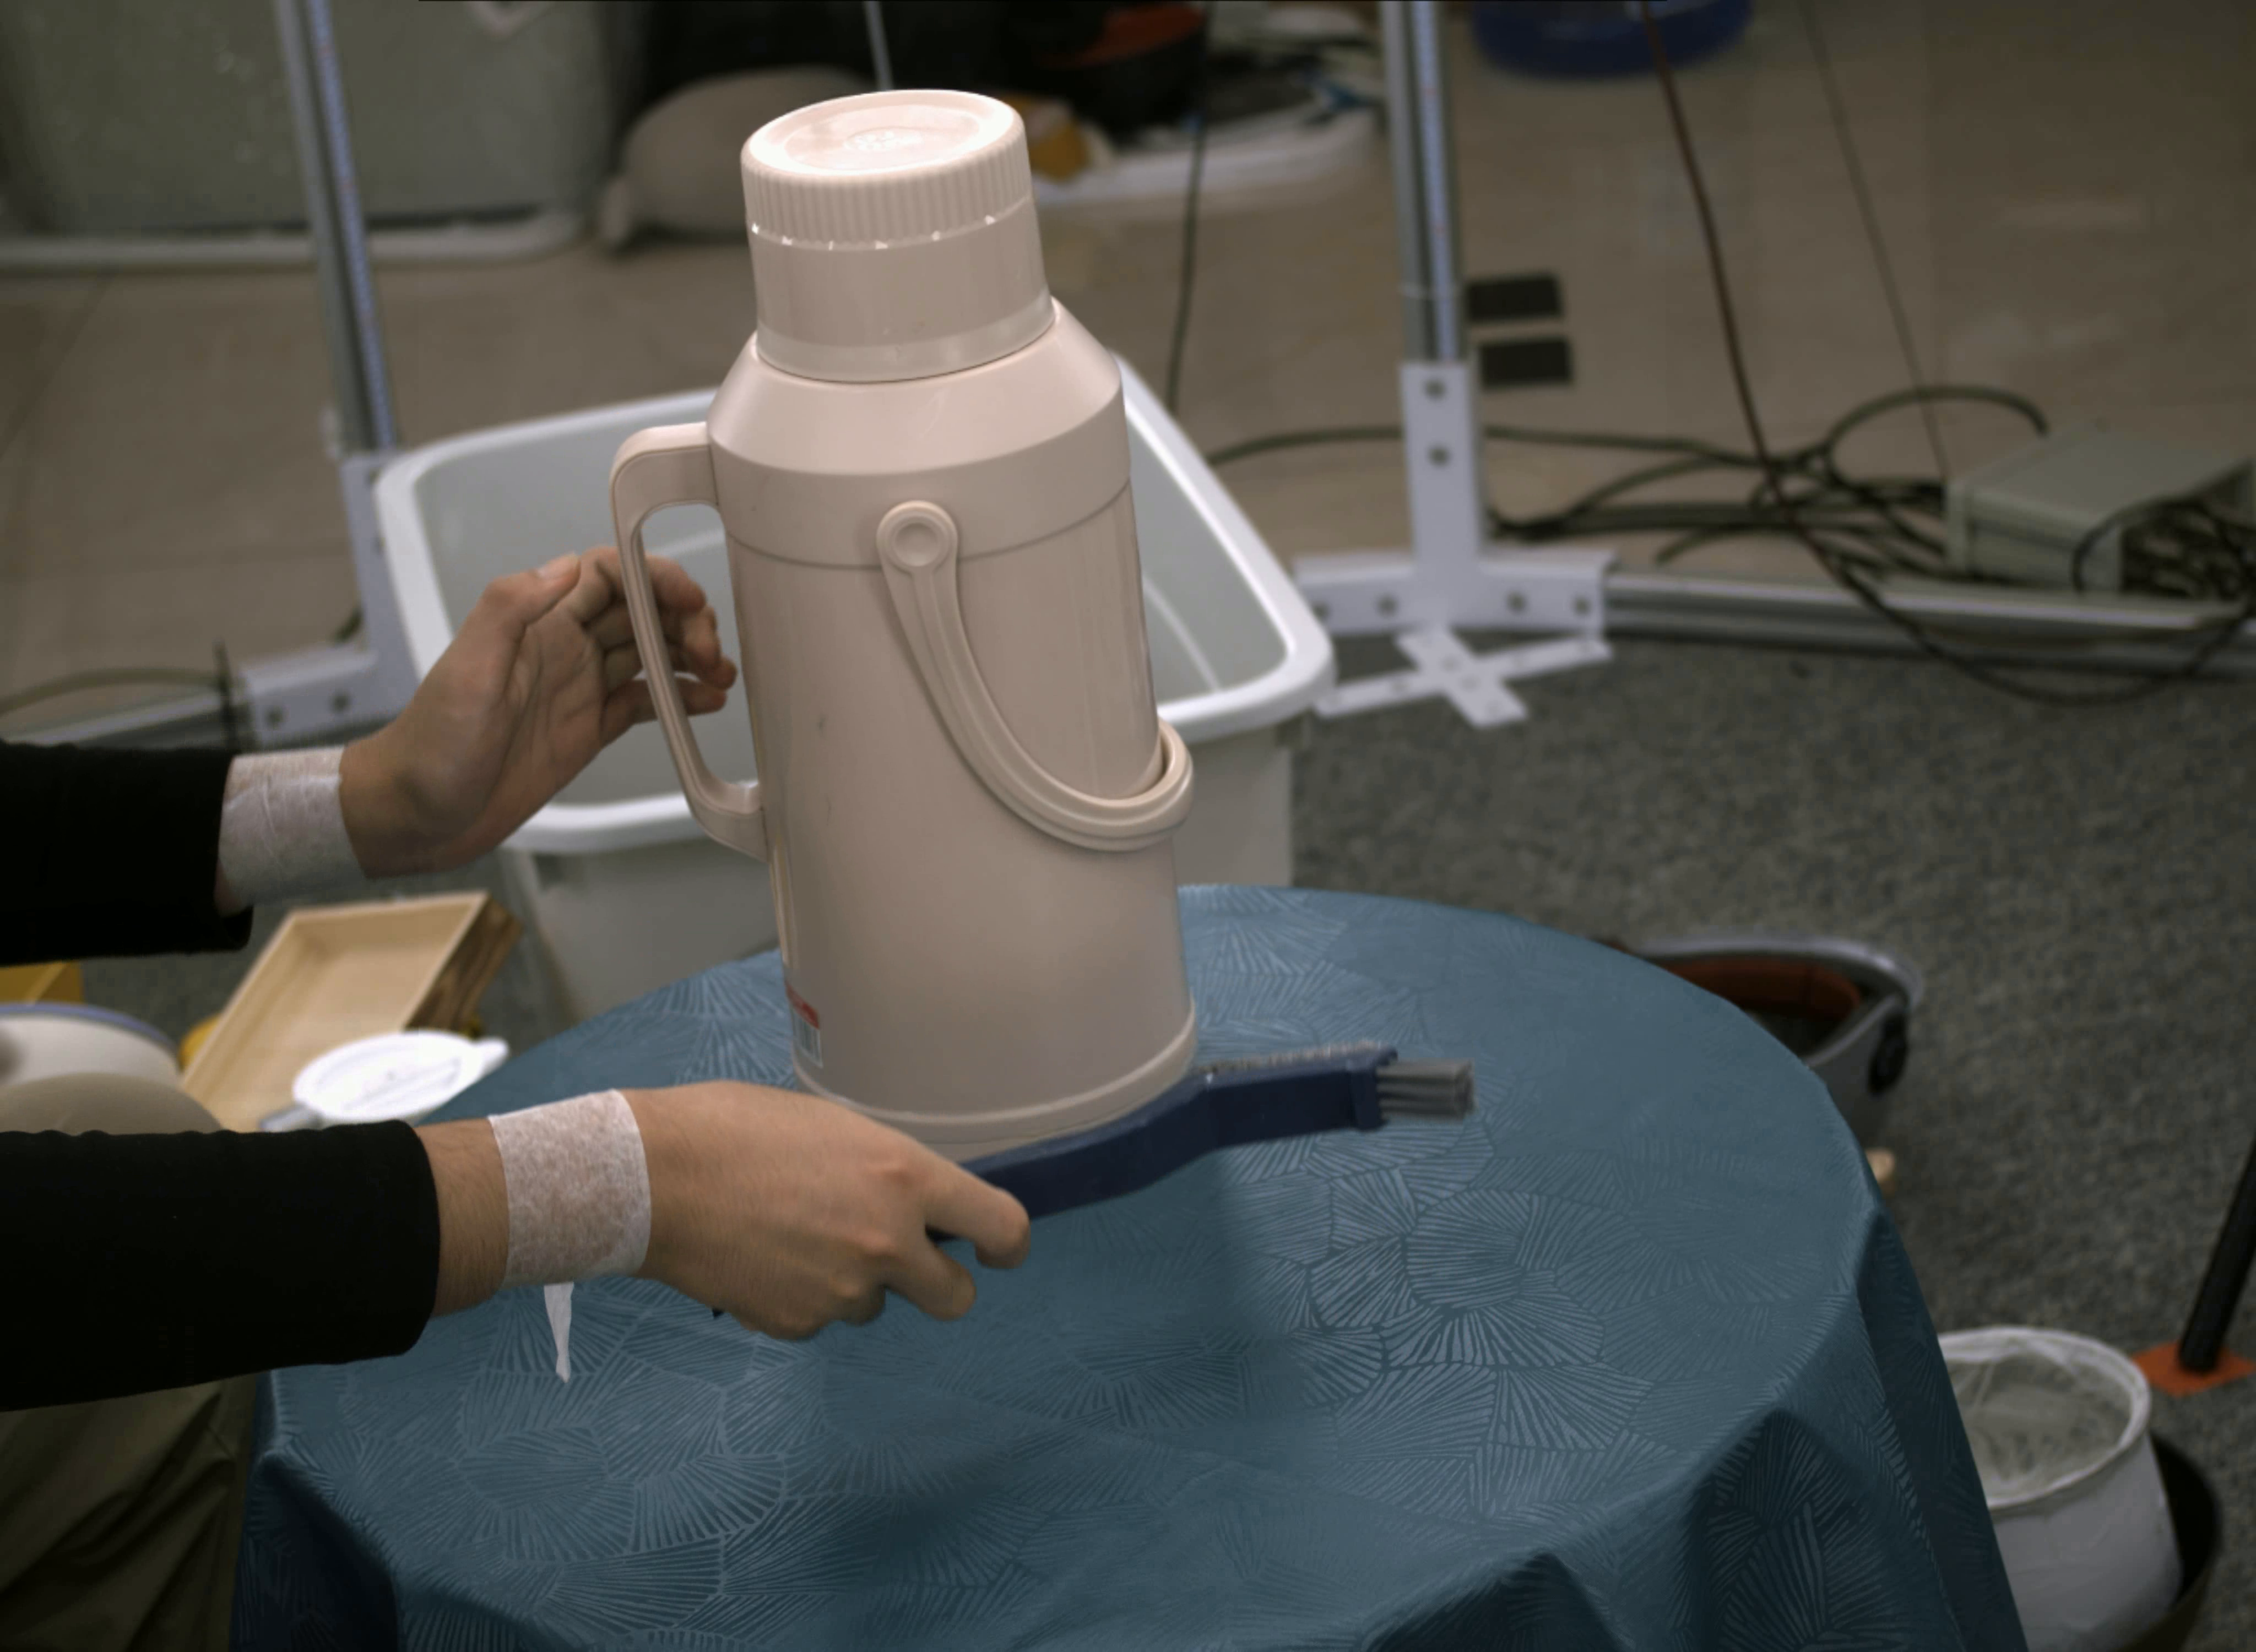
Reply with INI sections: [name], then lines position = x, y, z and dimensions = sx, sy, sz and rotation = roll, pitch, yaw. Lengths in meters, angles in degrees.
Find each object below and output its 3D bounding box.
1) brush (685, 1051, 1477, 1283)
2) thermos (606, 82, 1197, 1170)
[brush]
position = -0.017, 0.116, 1.965
dimensions = 0.272, 0.034, 0.095
rotation = -16, 22, -25
[thermos]
position = -0.084, -0.071, 2.143
dimensions = 0.207, 0.413, 0.172
rotation = -6, 27, 1
